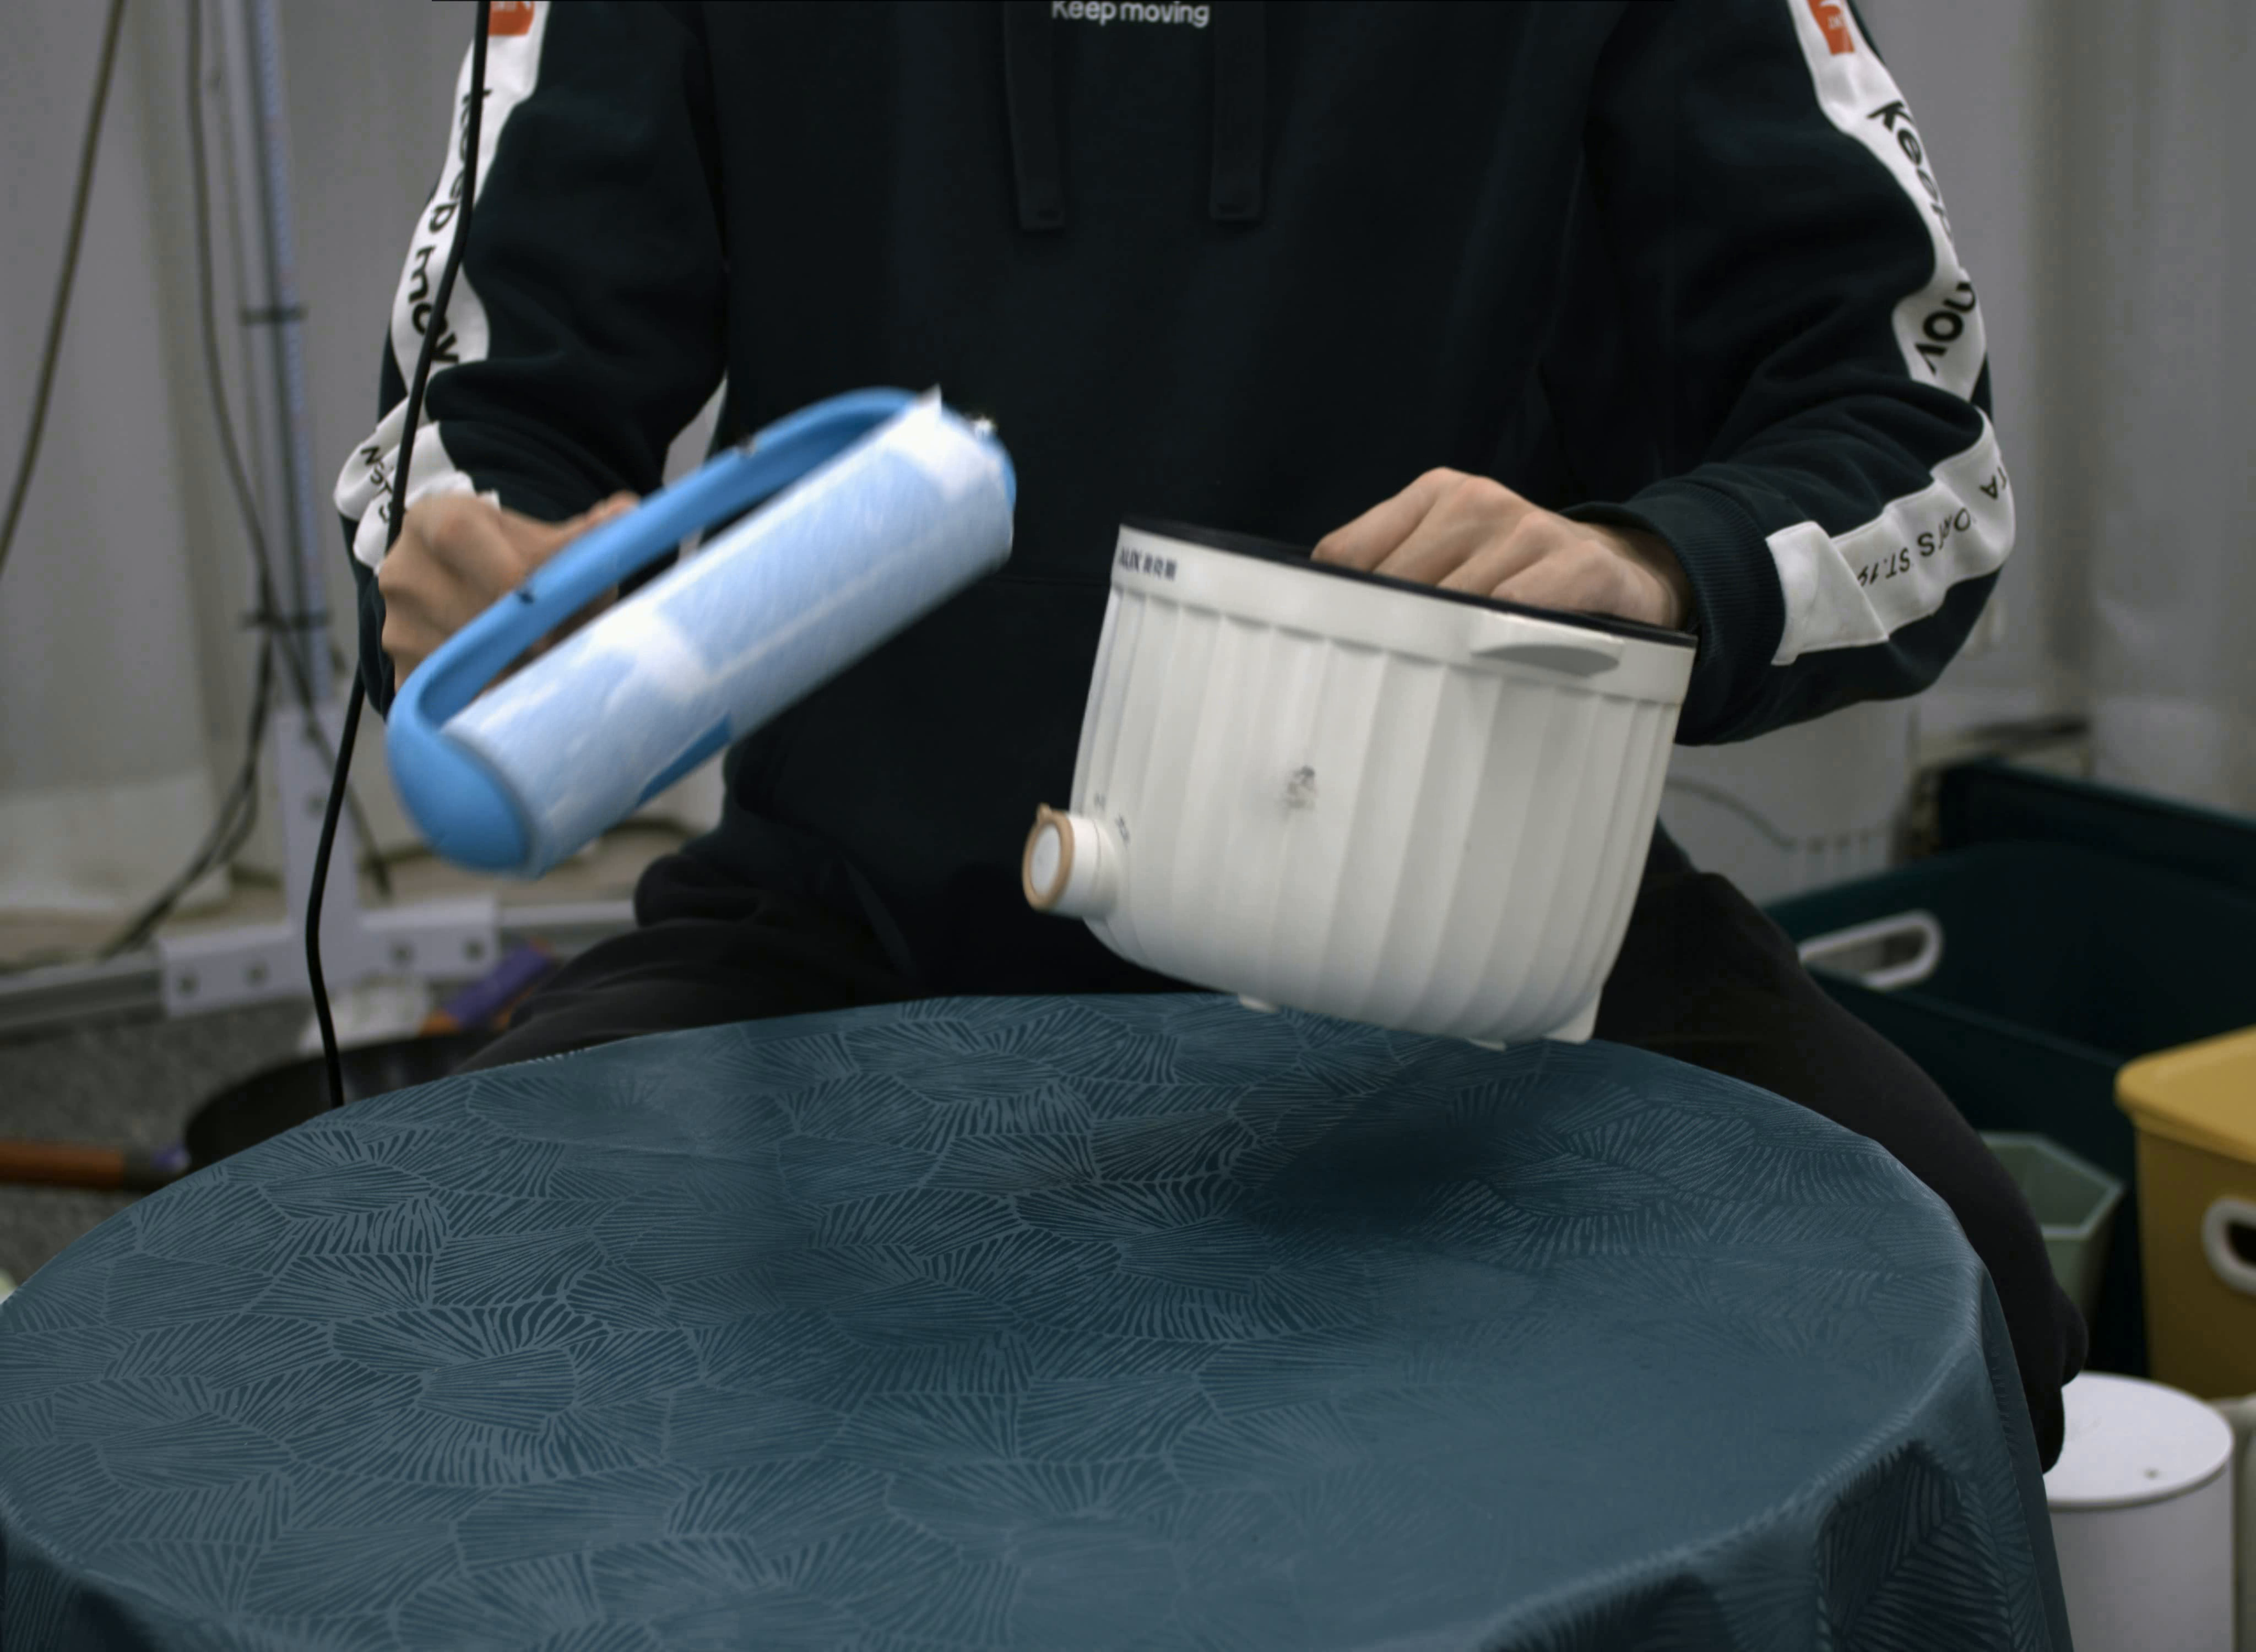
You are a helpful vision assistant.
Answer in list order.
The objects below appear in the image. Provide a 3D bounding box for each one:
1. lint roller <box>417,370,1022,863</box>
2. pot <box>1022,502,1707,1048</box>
[{"bbox_3d":[-0.154,-0.063,1.684,0.181,0.067,0.230,-2,32,48],"label":"lint roller"},{"bbox_3d":[0.068,-0.015,1.682,0.189,0.143,0.242,14,1,-25],"label":"pot"}]
